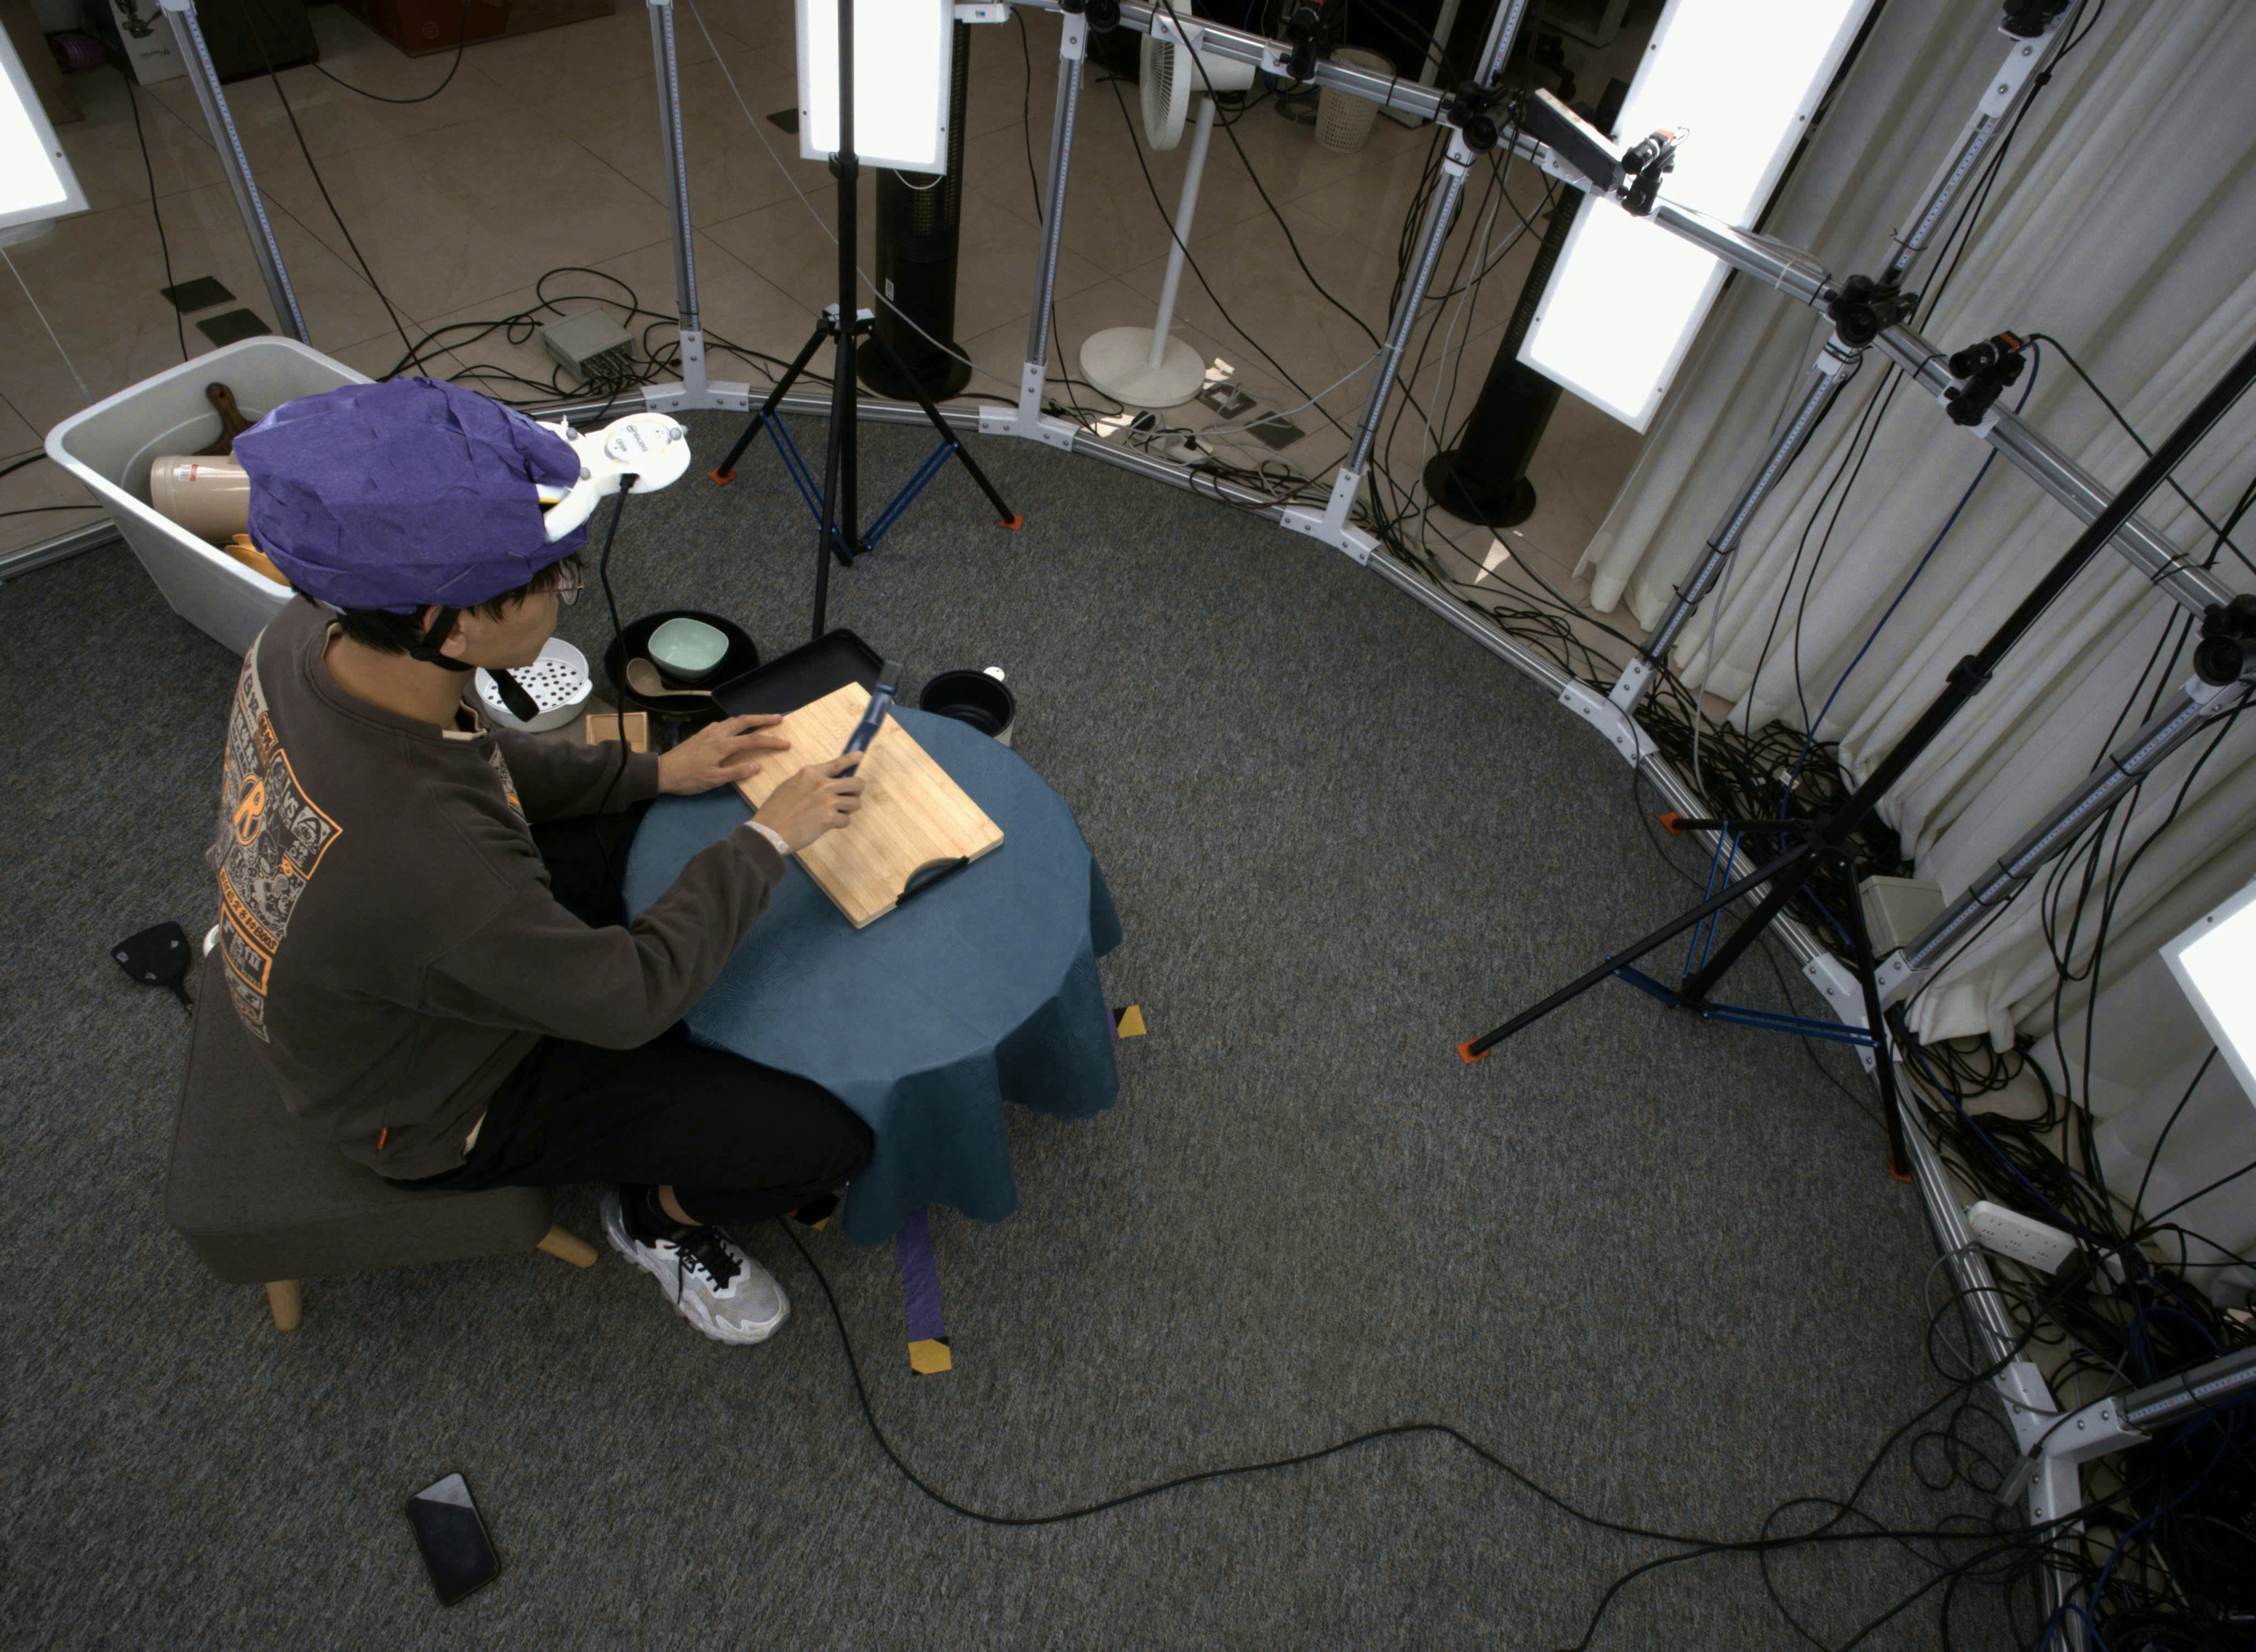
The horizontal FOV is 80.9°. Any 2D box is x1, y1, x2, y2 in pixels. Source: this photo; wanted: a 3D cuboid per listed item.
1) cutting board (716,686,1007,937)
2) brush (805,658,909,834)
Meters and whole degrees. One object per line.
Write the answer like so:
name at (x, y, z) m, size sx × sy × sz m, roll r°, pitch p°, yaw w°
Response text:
cutting board at (-0.363, -0.033, 1.767) m, size 0.251 × 0.024 × 0.341 m, roll -35°, pitch 68°, yaw -31°
brush at (-0.345, -0.105, 1.665) m, size 0.033 × 0.097 × 0.269 m, roll 22°, pitch 42°, yaw -5°
